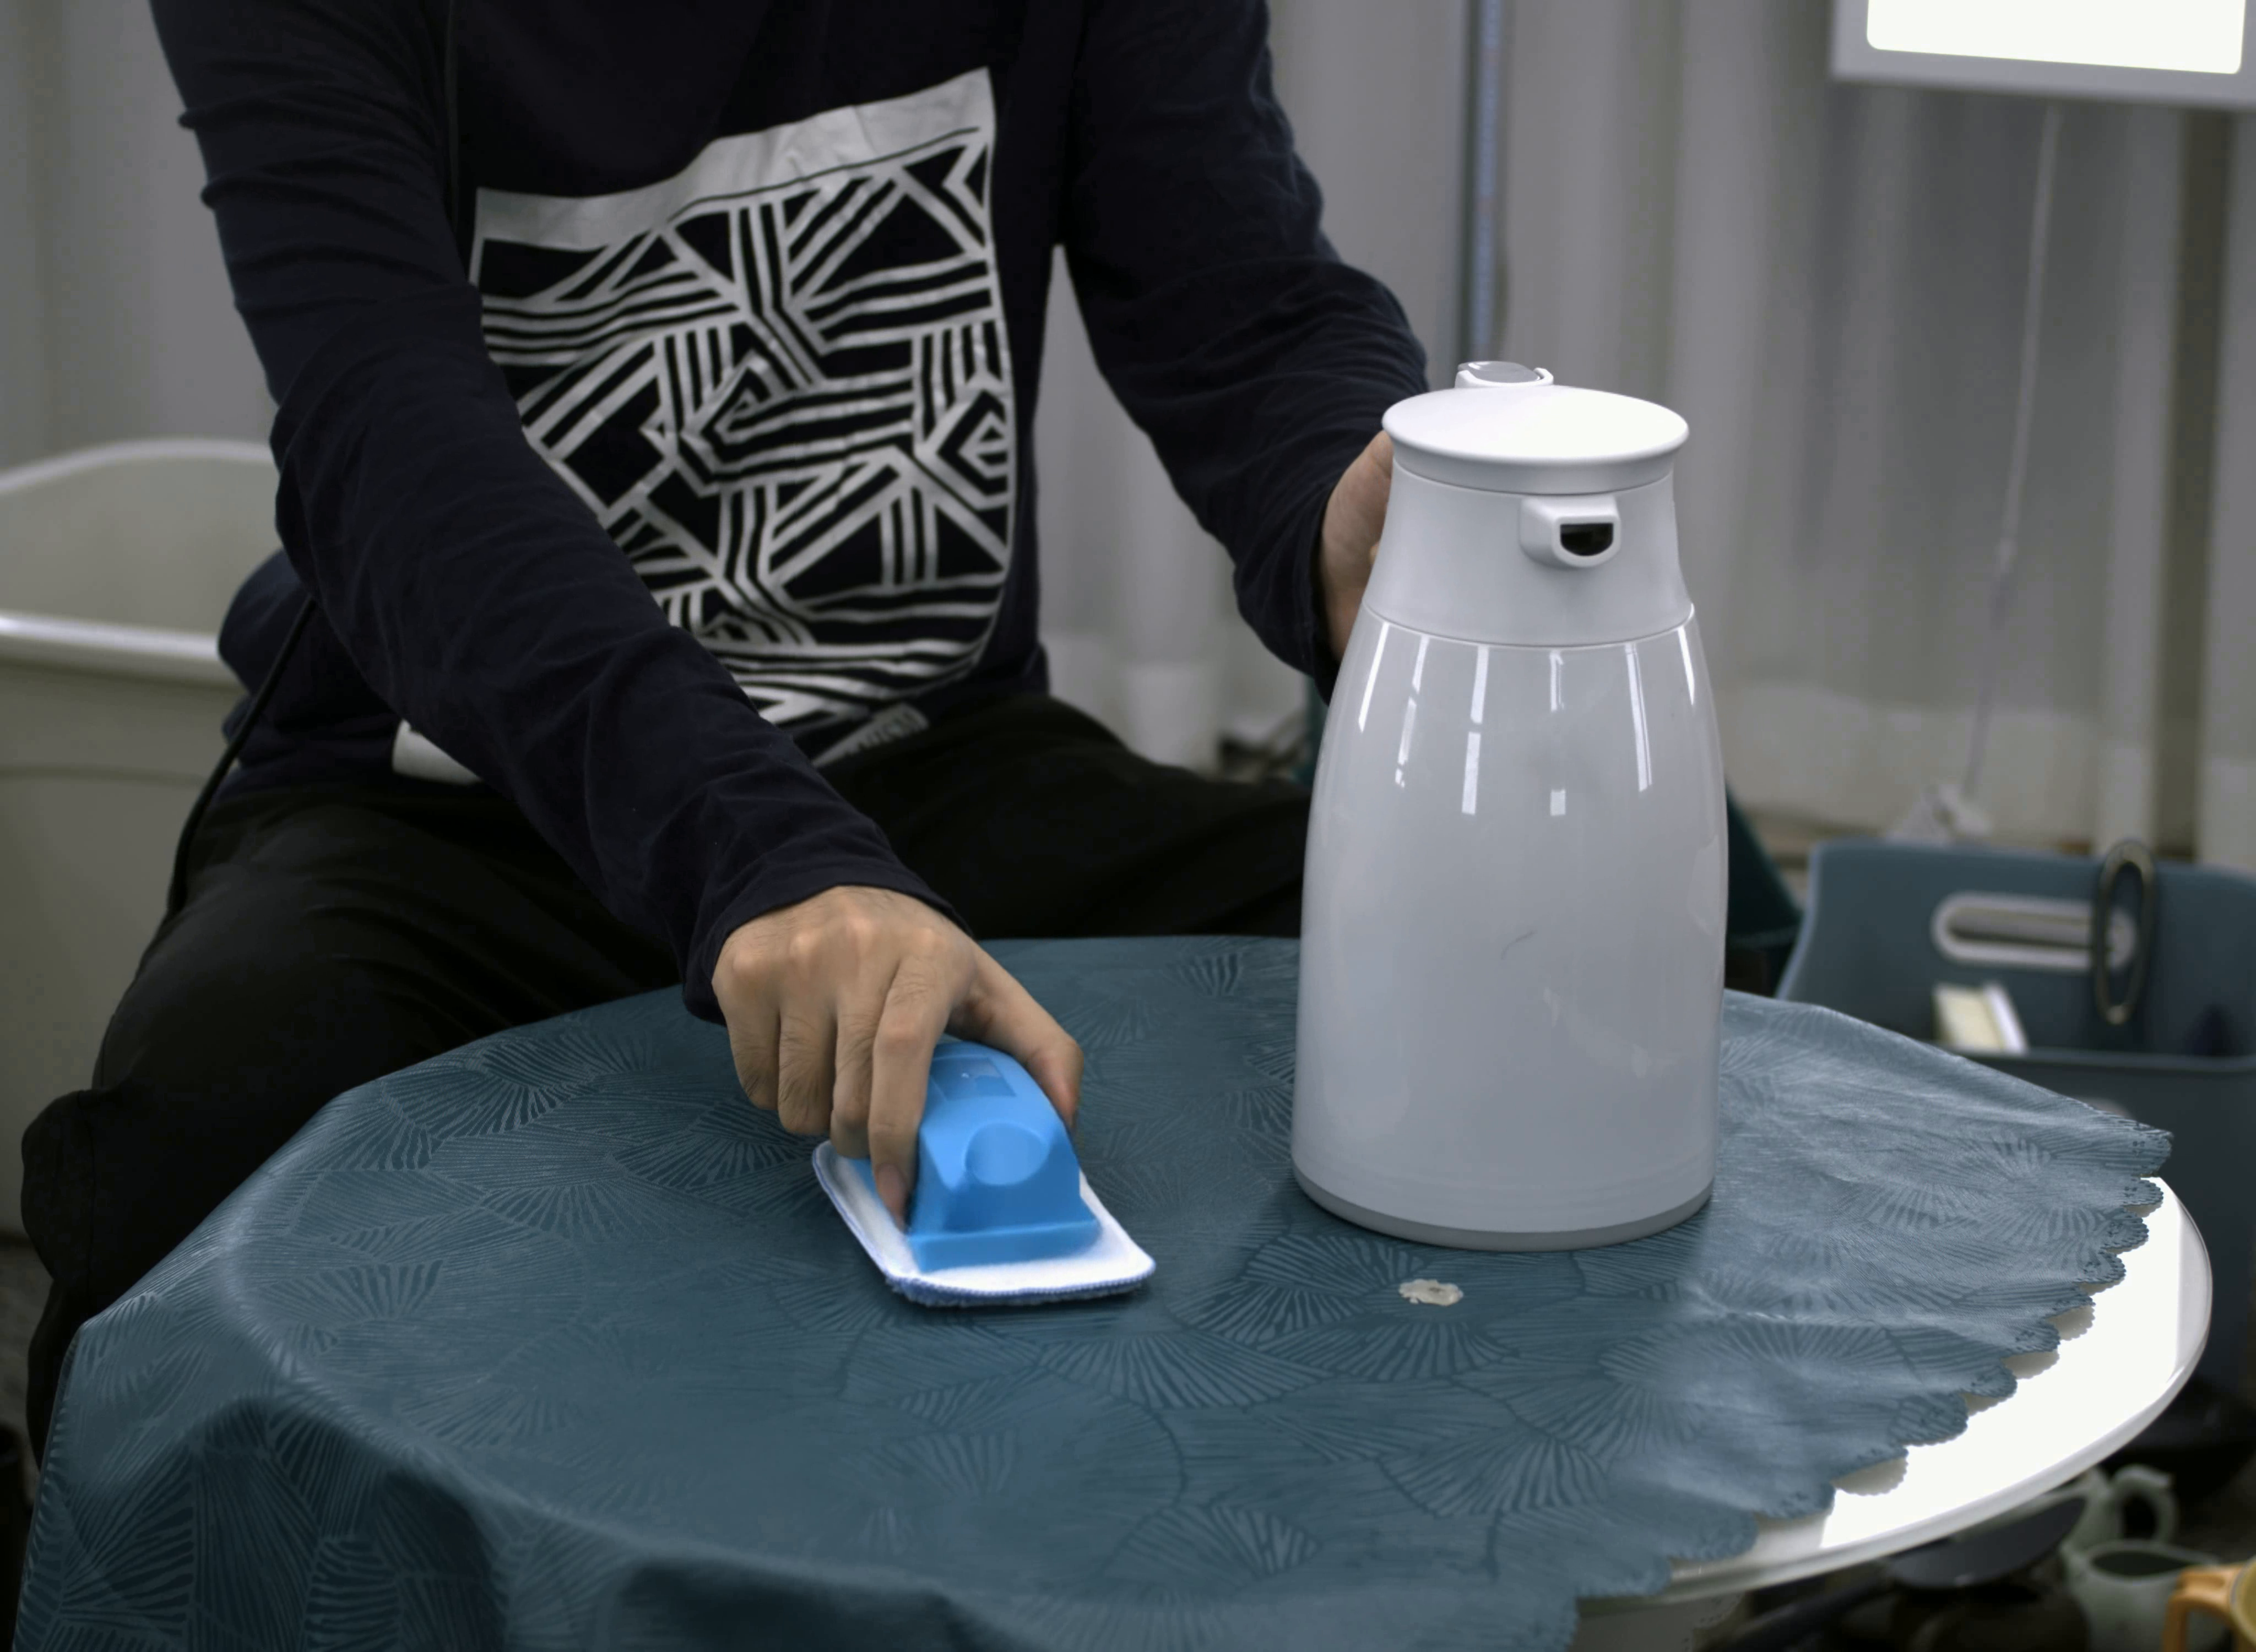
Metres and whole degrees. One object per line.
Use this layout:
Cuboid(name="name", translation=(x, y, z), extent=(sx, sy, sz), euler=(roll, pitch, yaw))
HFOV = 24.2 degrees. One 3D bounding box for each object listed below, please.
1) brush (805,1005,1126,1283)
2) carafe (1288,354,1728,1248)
Cuboid(name="brush", translation=(-0.048, 0.093, 1.583), extent=(0.084, 0.056, 0.142), euler=(1, 17, -13))
Cuboid(name="carafe", translation=(0.113, -0.016, 1.614), extent=(0.132, 0.251, 0.166), euler=(-3, 18, -13))
